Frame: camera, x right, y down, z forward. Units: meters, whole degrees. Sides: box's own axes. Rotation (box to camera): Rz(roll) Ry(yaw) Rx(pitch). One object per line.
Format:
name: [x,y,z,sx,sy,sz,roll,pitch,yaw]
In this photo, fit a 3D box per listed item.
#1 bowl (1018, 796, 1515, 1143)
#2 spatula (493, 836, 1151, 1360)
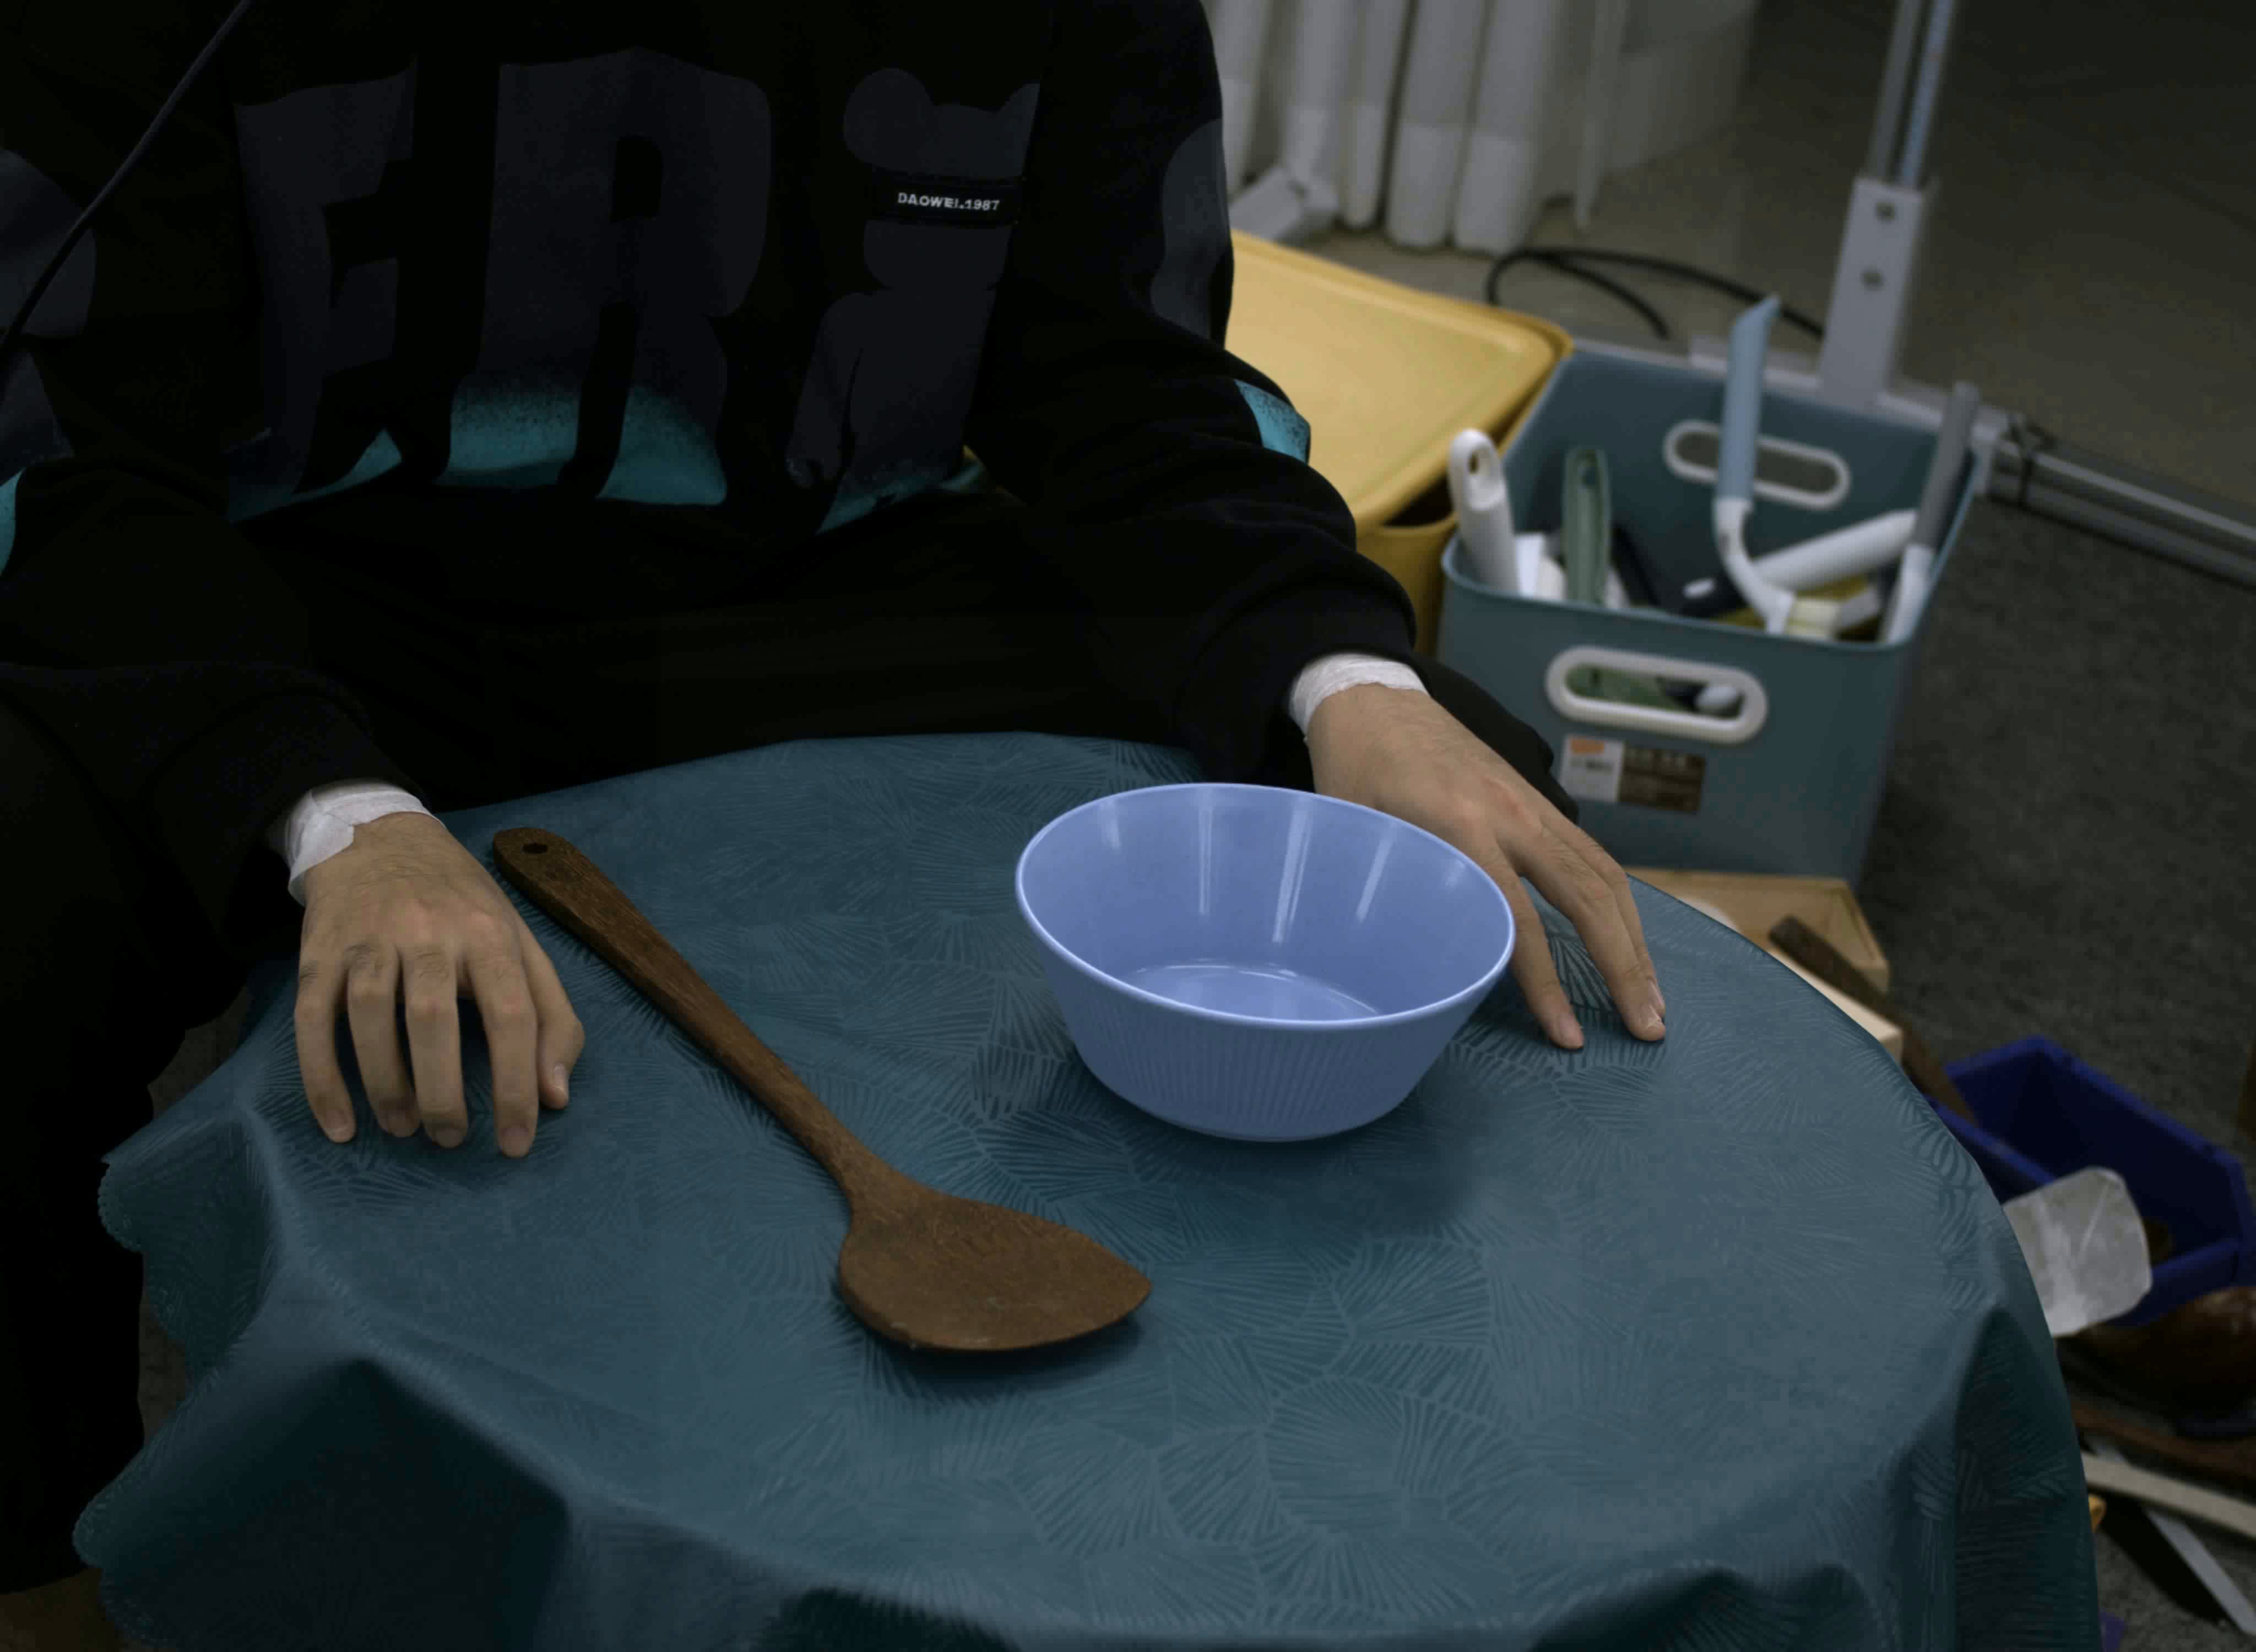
bowl: [0.045,0.056,1.869,0.175,0.070,0.177,5,25,-3]
spatula: [-0.126,0.085,1.833,0.095,0.016,0.389,-11,31,-31]
